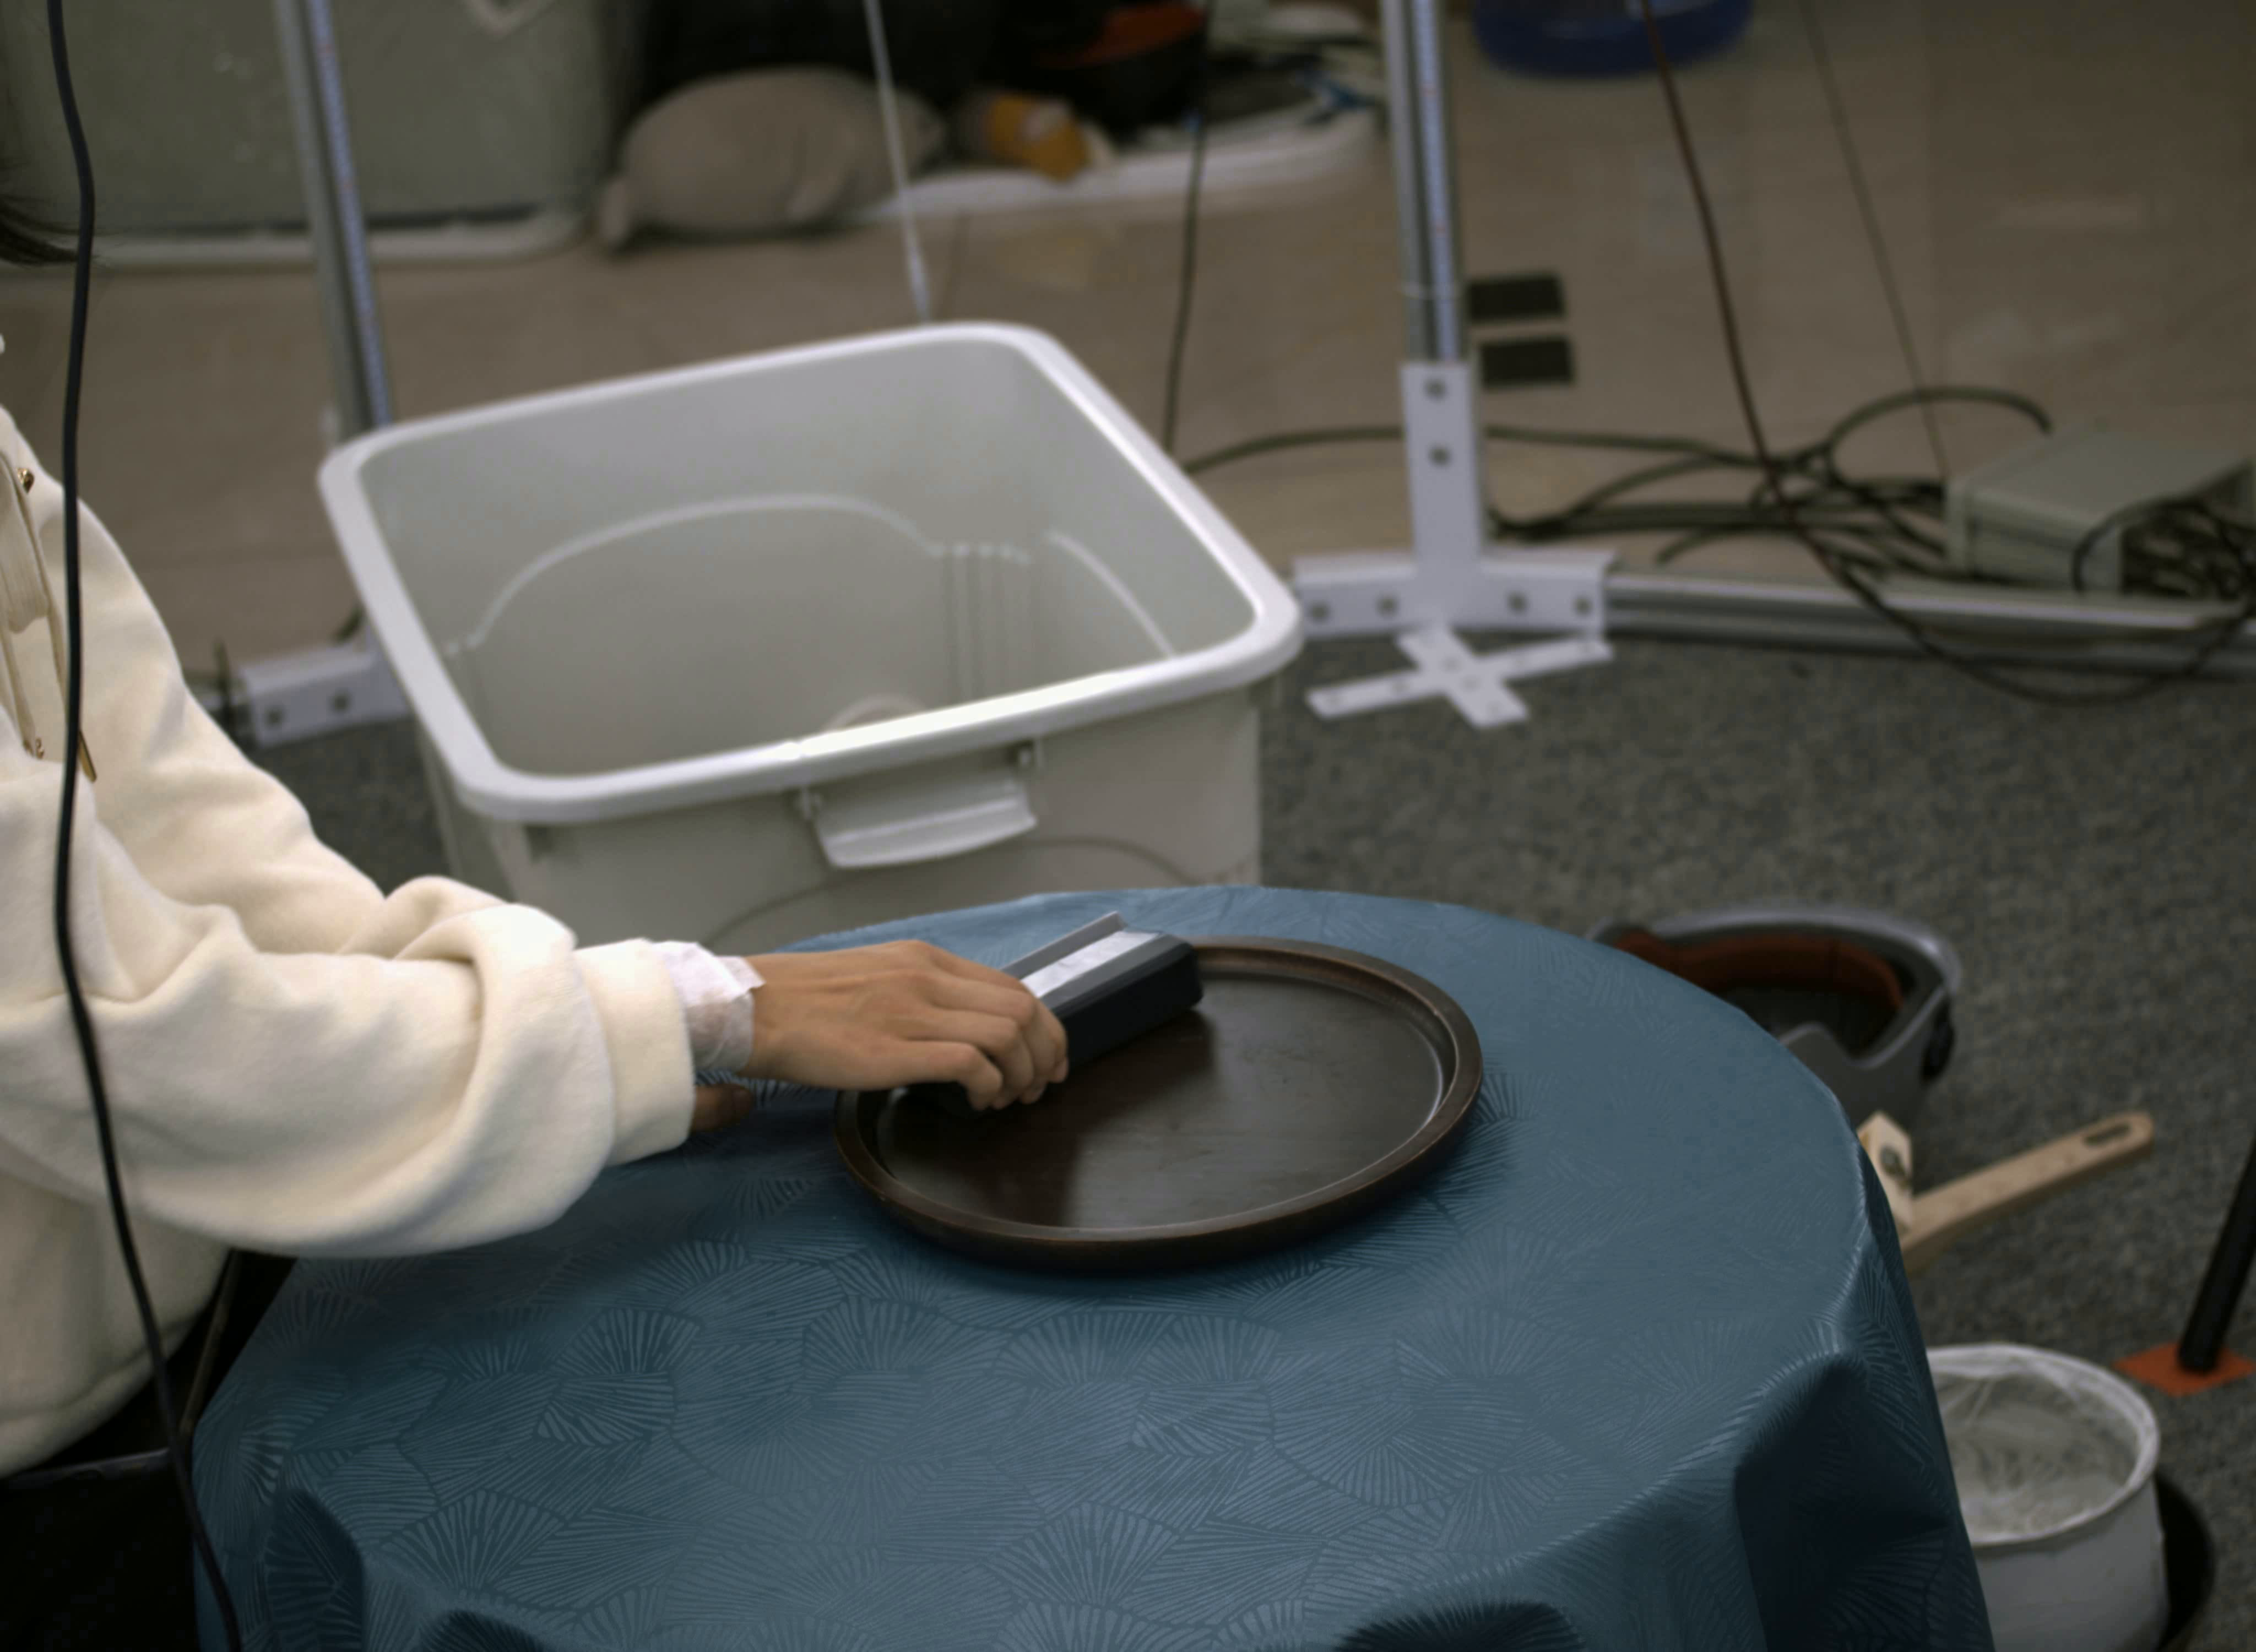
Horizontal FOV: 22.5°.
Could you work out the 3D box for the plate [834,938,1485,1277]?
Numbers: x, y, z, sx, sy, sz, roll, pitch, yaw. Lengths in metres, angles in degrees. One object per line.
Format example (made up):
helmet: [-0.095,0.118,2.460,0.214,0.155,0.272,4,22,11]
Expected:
plate: [0.012,0.107,2.186,0.254,0.029,0.251,-4,25,2]

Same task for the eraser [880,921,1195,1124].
eraser: [-0.034,0.076,2.229,0.124,0.031,0.053,-28,31,-36]
